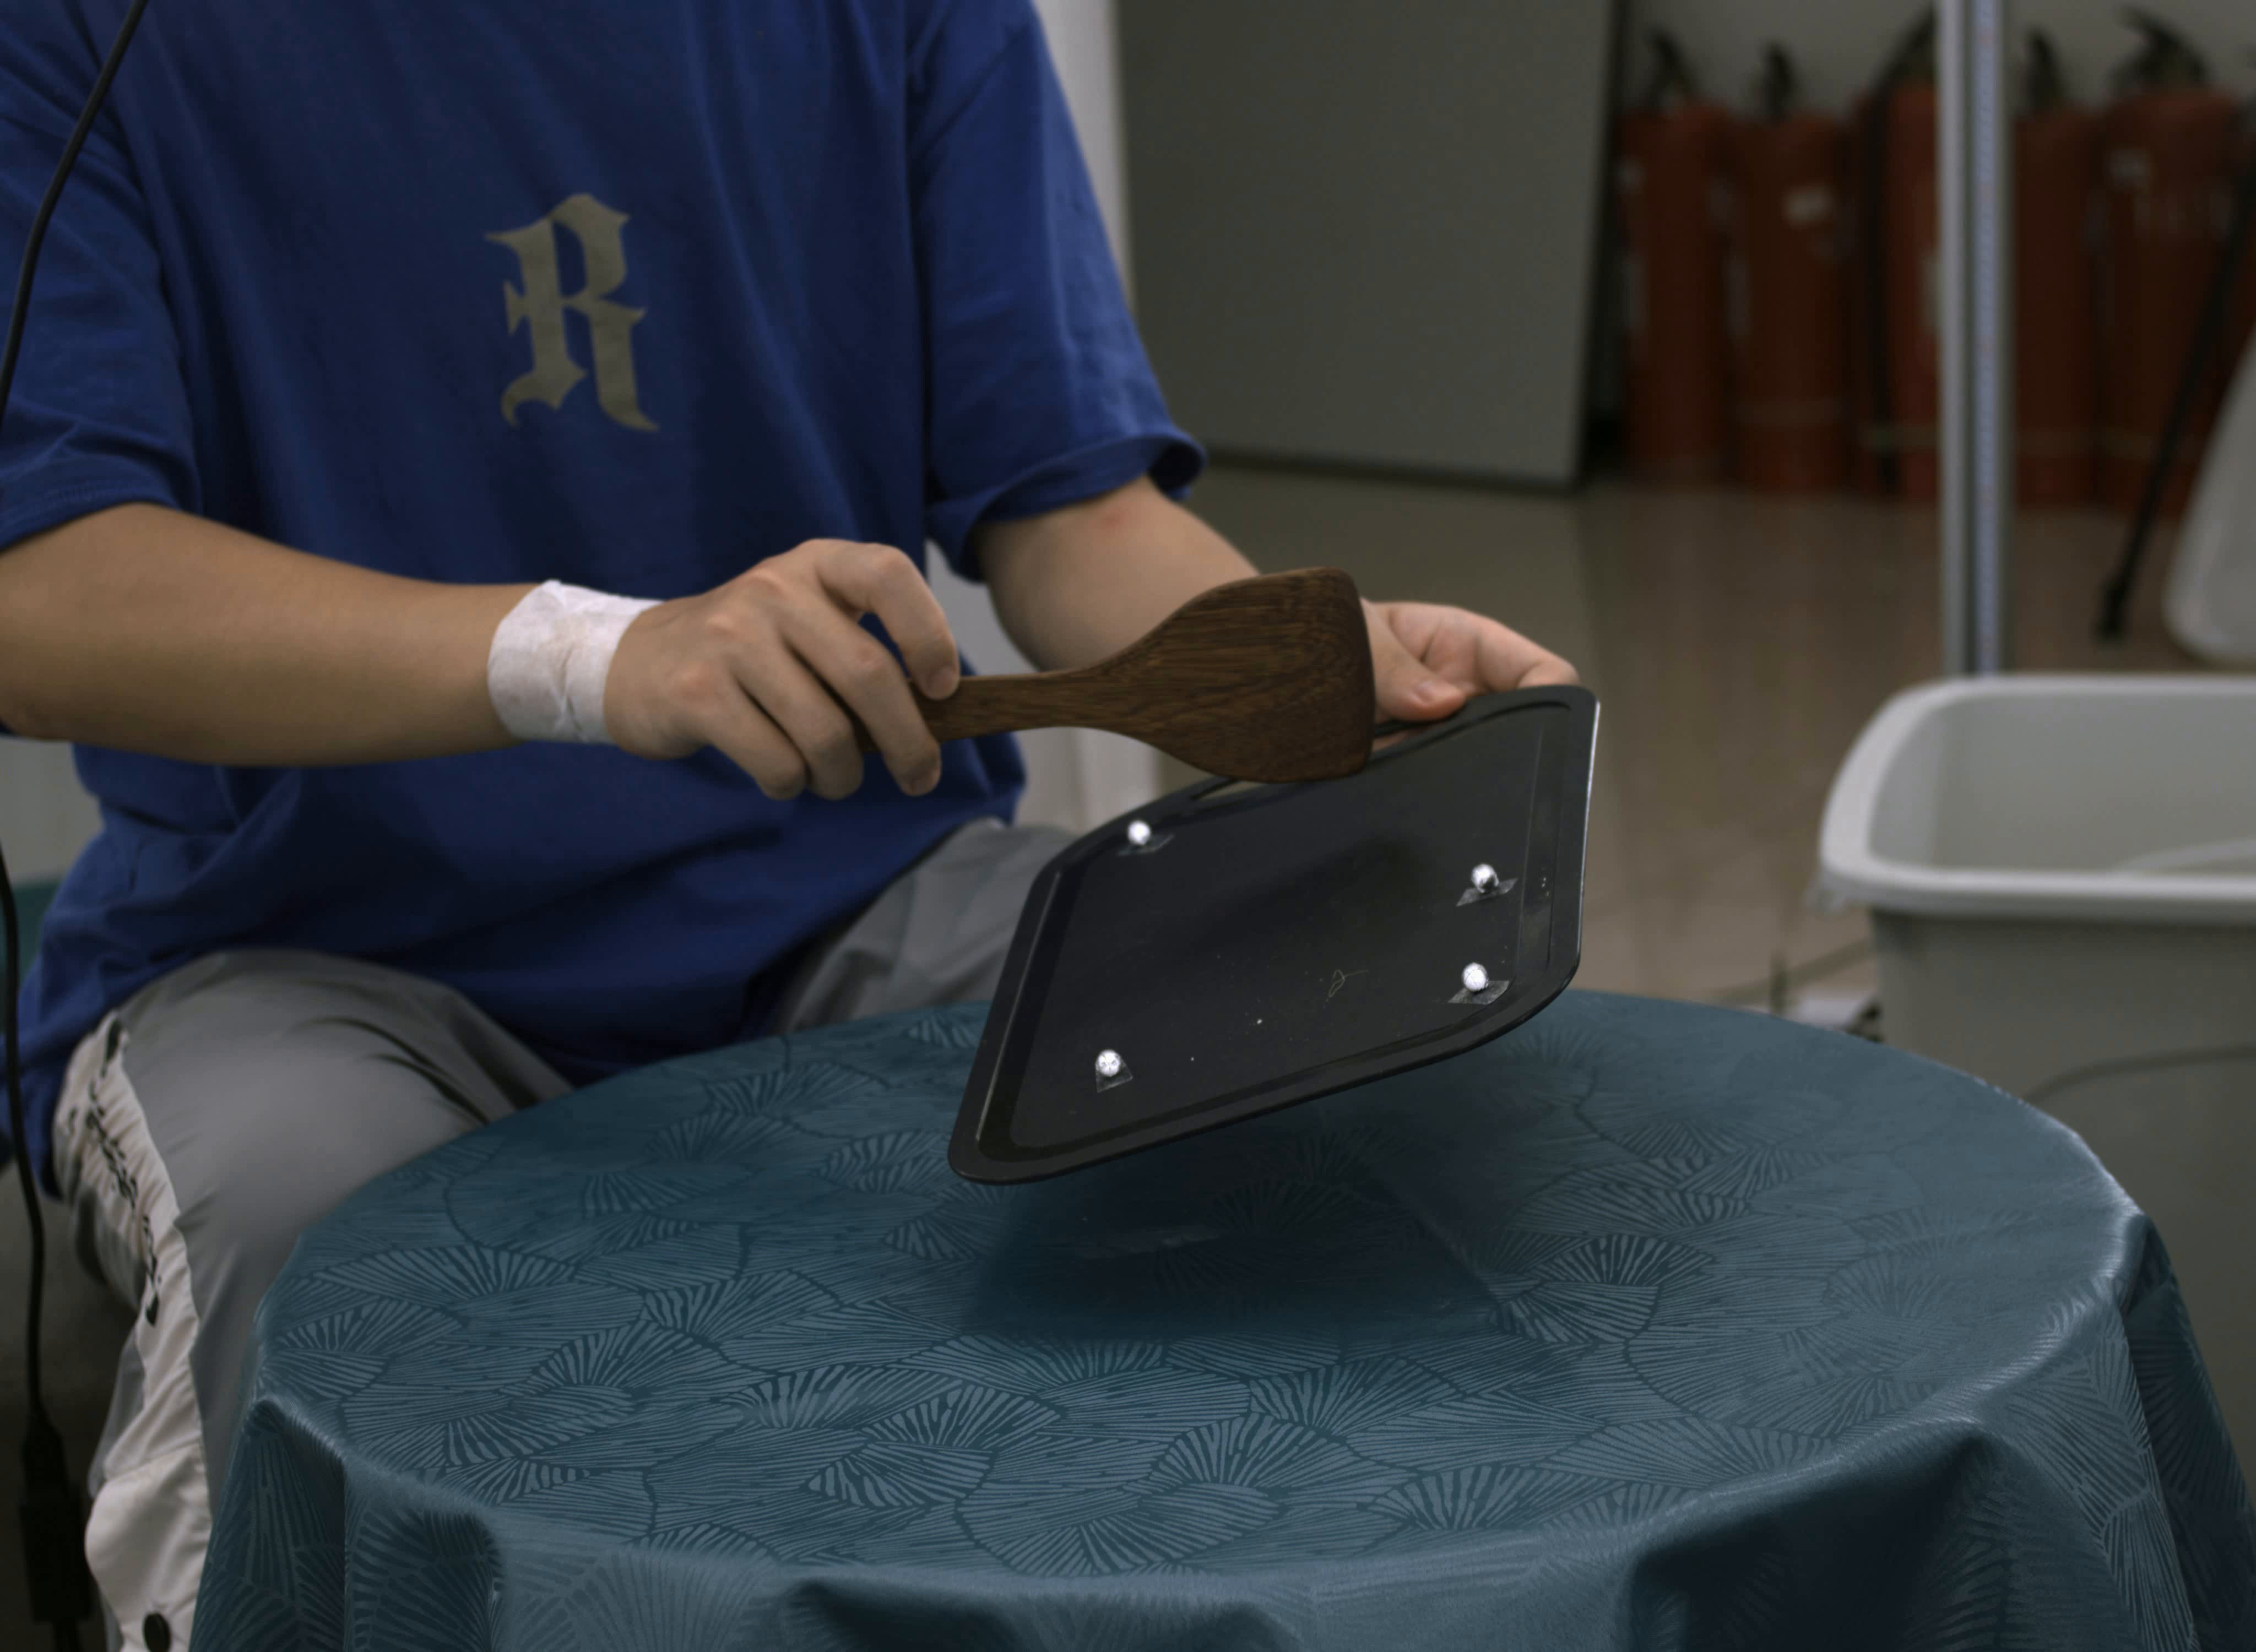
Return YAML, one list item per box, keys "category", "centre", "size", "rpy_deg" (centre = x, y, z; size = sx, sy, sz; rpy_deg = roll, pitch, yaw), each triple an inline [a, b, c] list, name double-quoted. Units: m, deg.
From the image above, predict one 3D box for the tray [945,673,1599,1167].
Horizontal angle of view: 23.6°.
- category: "tray"
  centre: [0.052, 0.023, 1.762]
  size: [0.210, 0.010, 0.325]
  rpy_deg: [-19, 18, 14]

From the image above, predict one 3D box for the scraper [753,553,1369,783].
- category: "scraper"
  centre: [-0.024, -0.044, 1.799]
  size: [0.210, 0.076, 0.011]
  rpy_deg: [-6, 16, 13]
